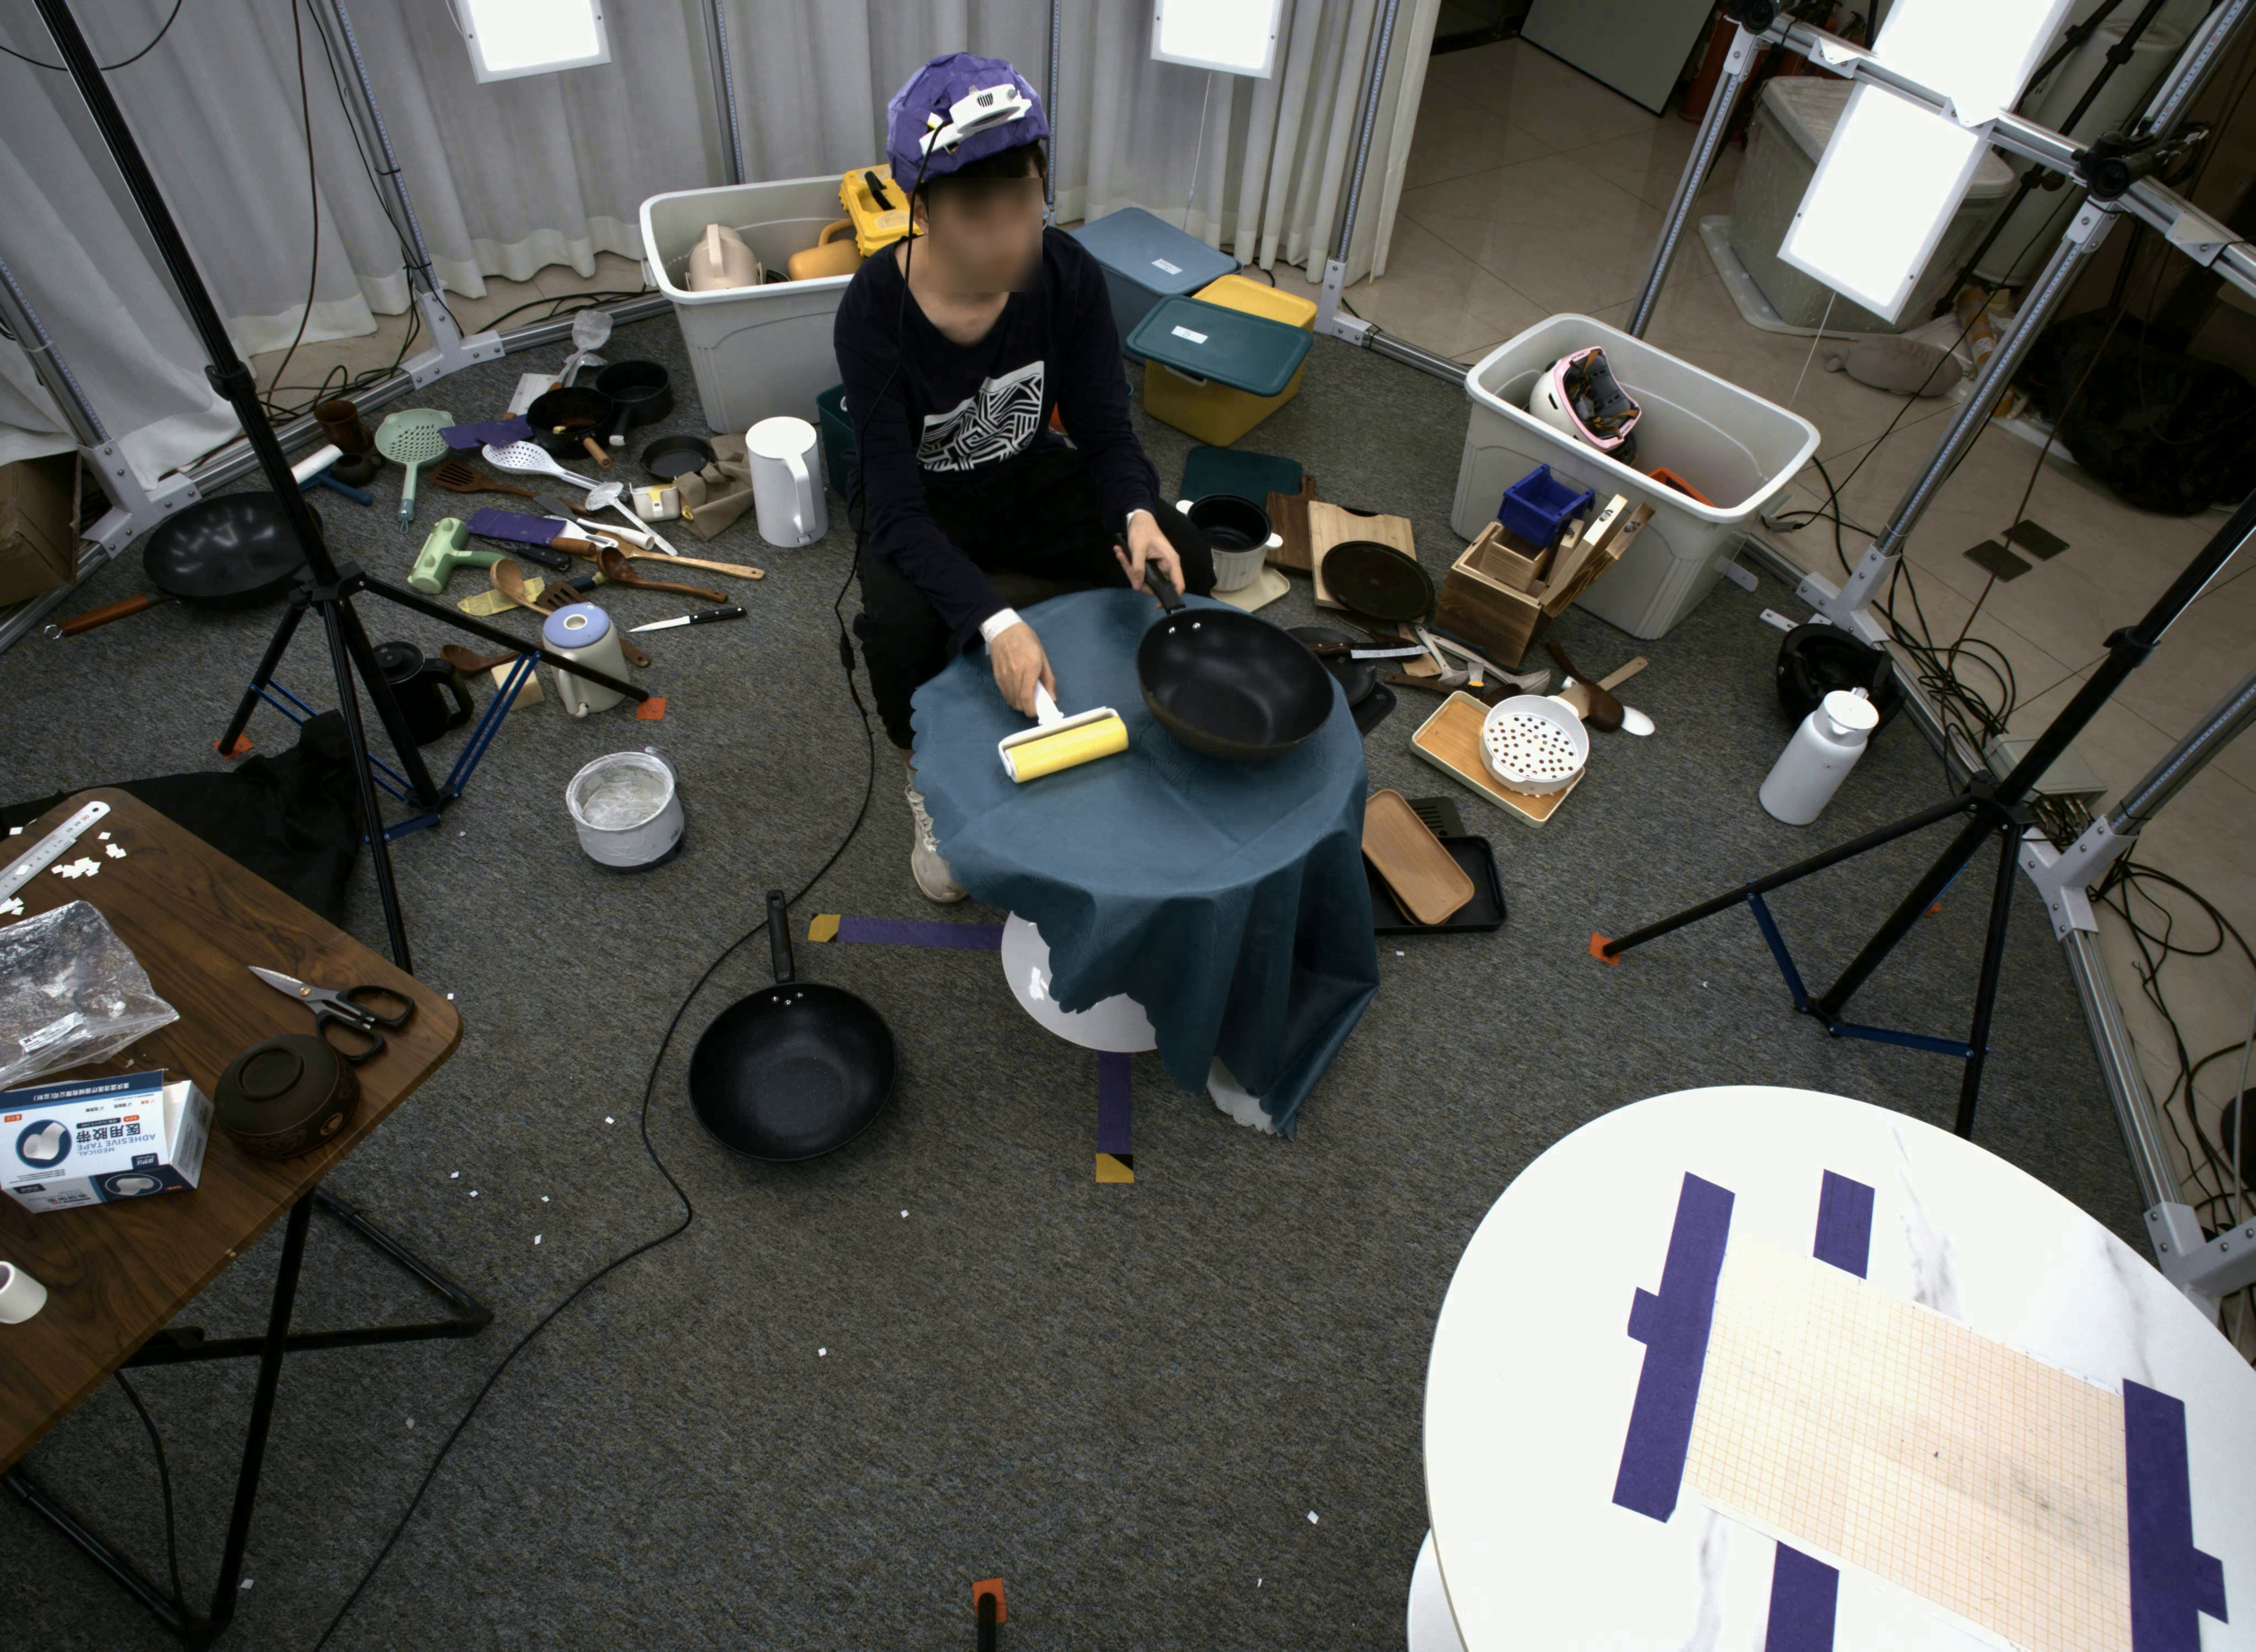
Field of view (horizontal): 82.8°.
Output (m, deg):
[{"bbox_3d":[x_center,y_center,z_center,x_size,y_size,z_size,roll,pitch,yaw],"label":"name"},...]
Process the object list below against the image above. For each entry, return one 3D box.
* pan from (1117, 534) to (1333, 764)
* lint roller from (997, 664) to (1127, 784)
[{"bbox_3d":[0.091,-0.244,1.817,0.288,0.085,0.473,-17,54,-27],"label":"pan"},{"bbox_3d":[-0.114,-0.159,1.750,0.174,0.050,0.196,-18,62,-16],"label":"lint roller"}]
